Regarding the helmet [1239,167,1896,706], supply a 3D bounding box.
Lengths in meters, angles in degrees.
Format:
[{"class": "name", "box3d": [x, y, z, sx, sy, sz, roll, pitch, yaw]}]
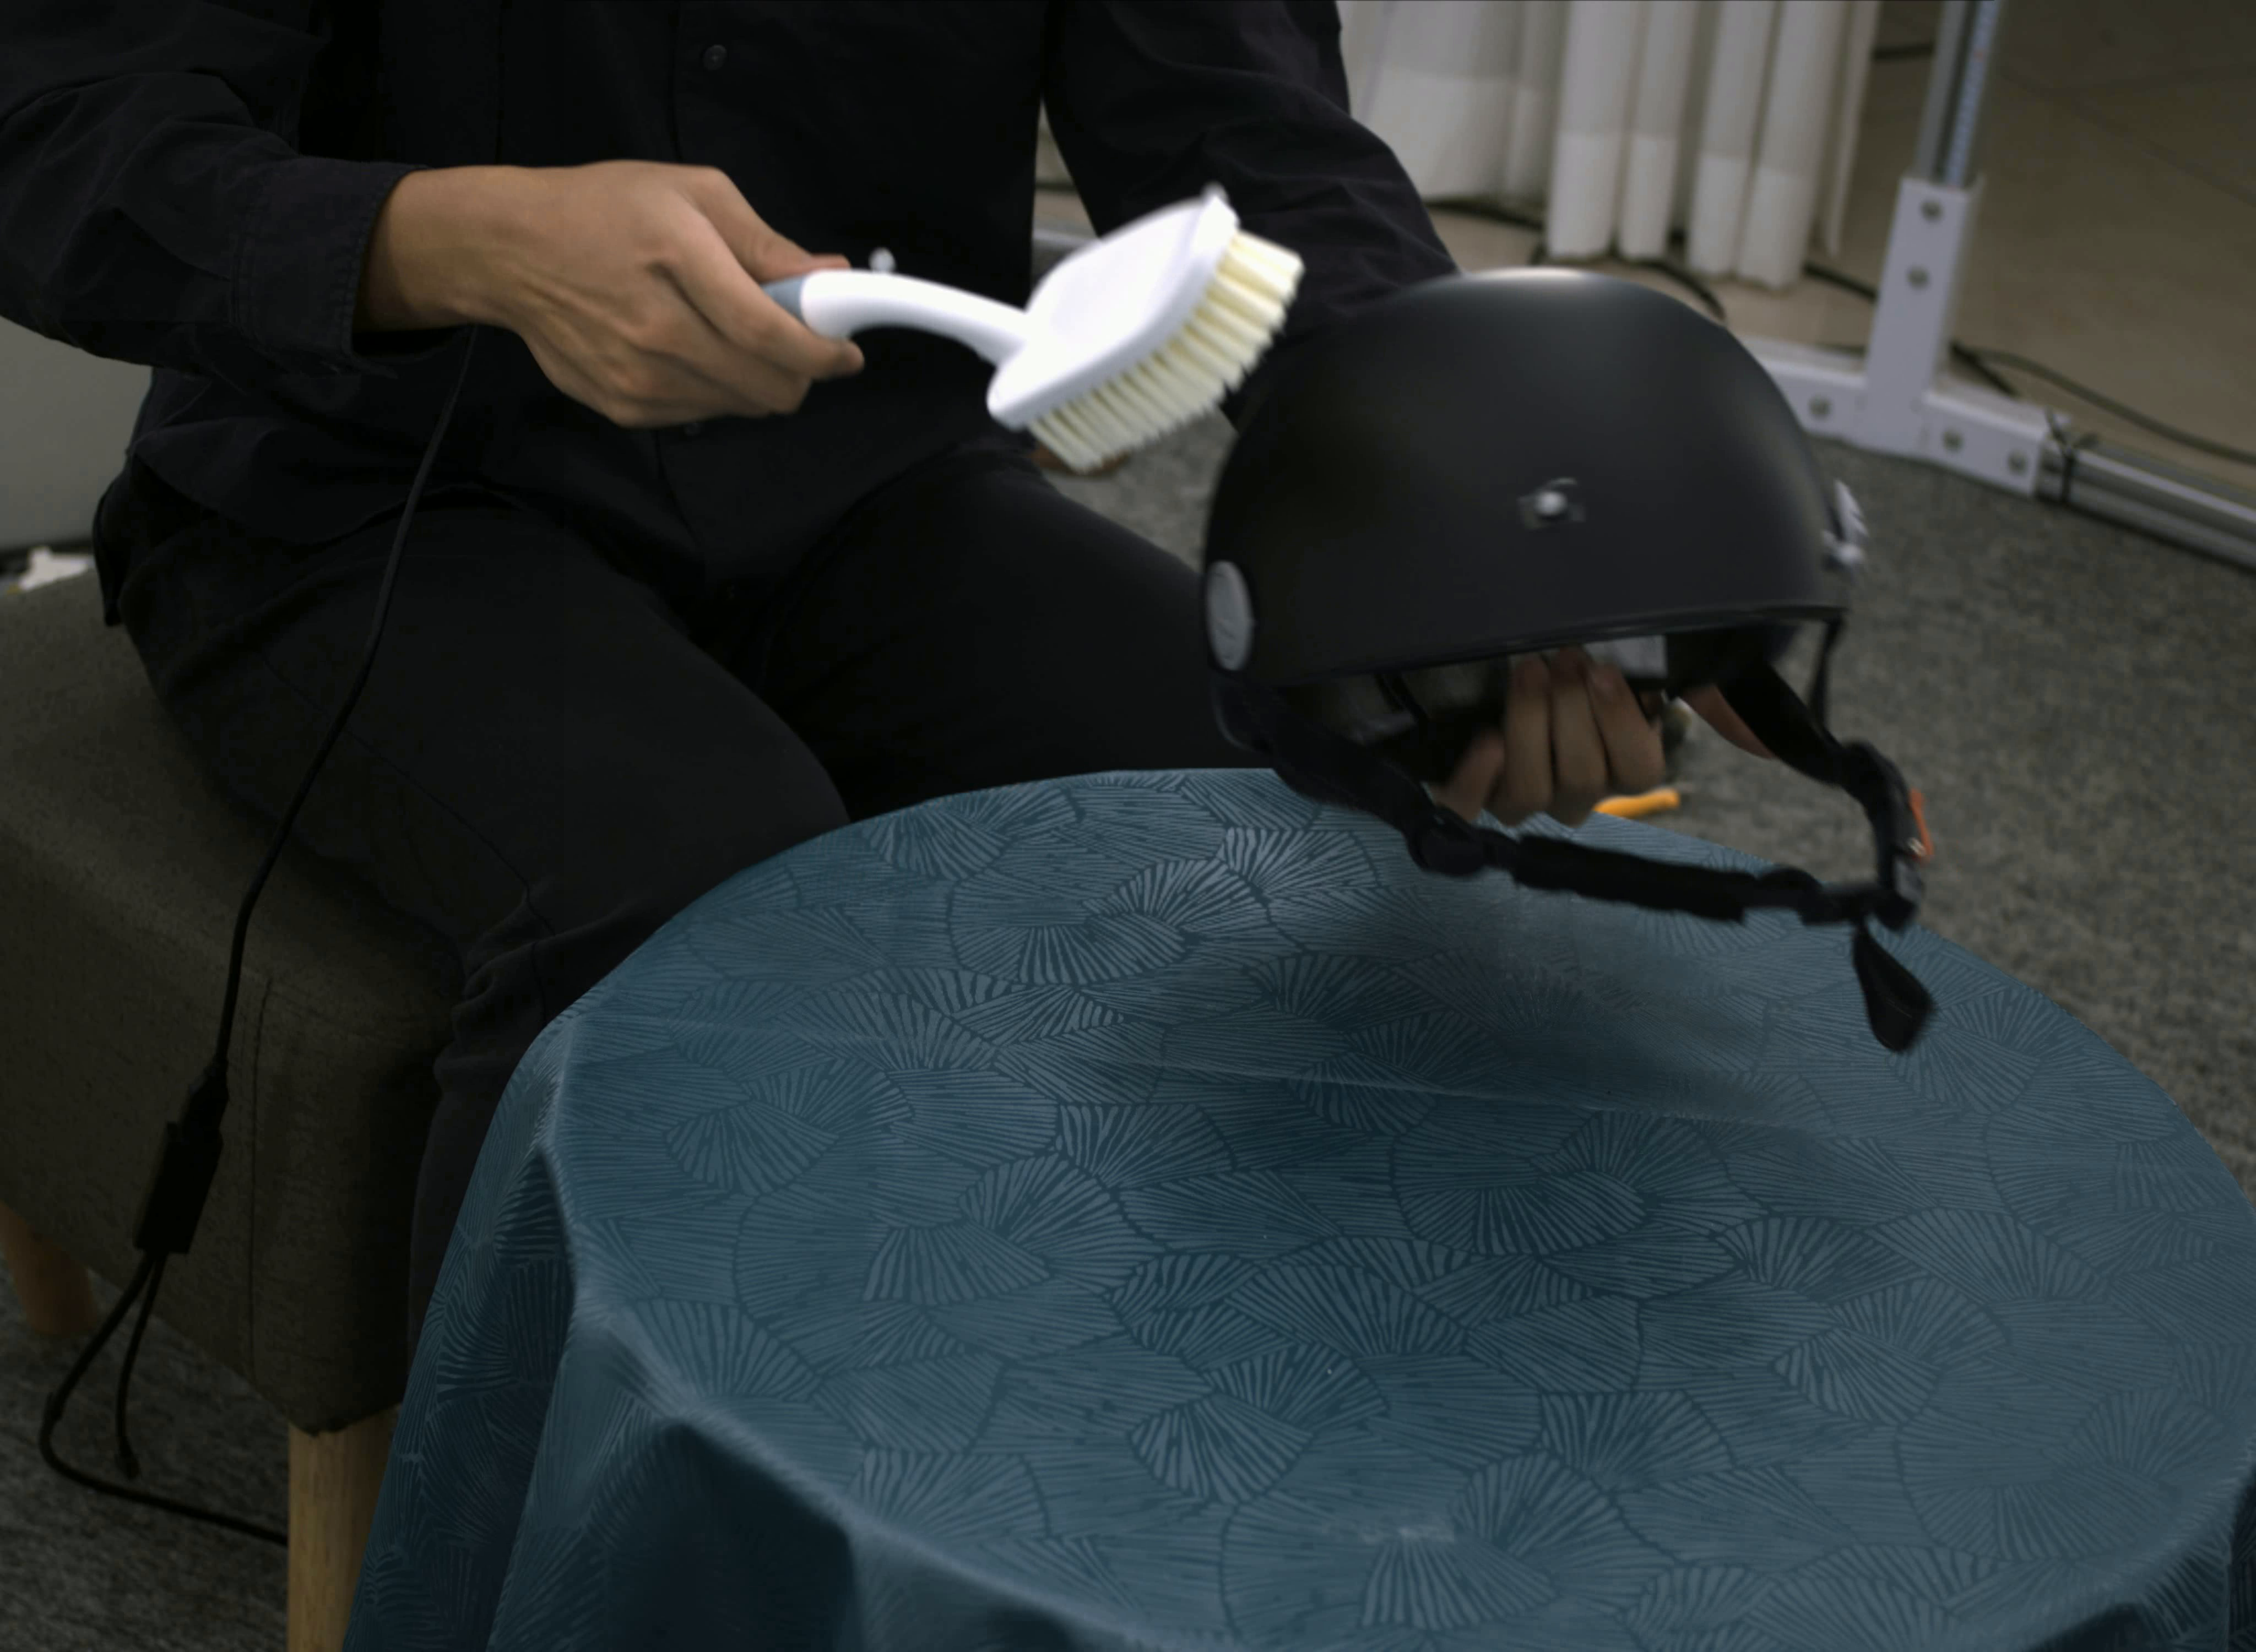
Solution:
[{"class": "helmet", "box3d": [0.147, -0.149, 1.891, 0.229, 0.167, 0.272, -9, -10, -4]}]

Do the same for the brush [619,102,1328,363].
[{"class": "brush", "box3d": [-0.048, -0.197, 1.851, 0.327, 0.084, 0.083, -6, 17, 45]}]
